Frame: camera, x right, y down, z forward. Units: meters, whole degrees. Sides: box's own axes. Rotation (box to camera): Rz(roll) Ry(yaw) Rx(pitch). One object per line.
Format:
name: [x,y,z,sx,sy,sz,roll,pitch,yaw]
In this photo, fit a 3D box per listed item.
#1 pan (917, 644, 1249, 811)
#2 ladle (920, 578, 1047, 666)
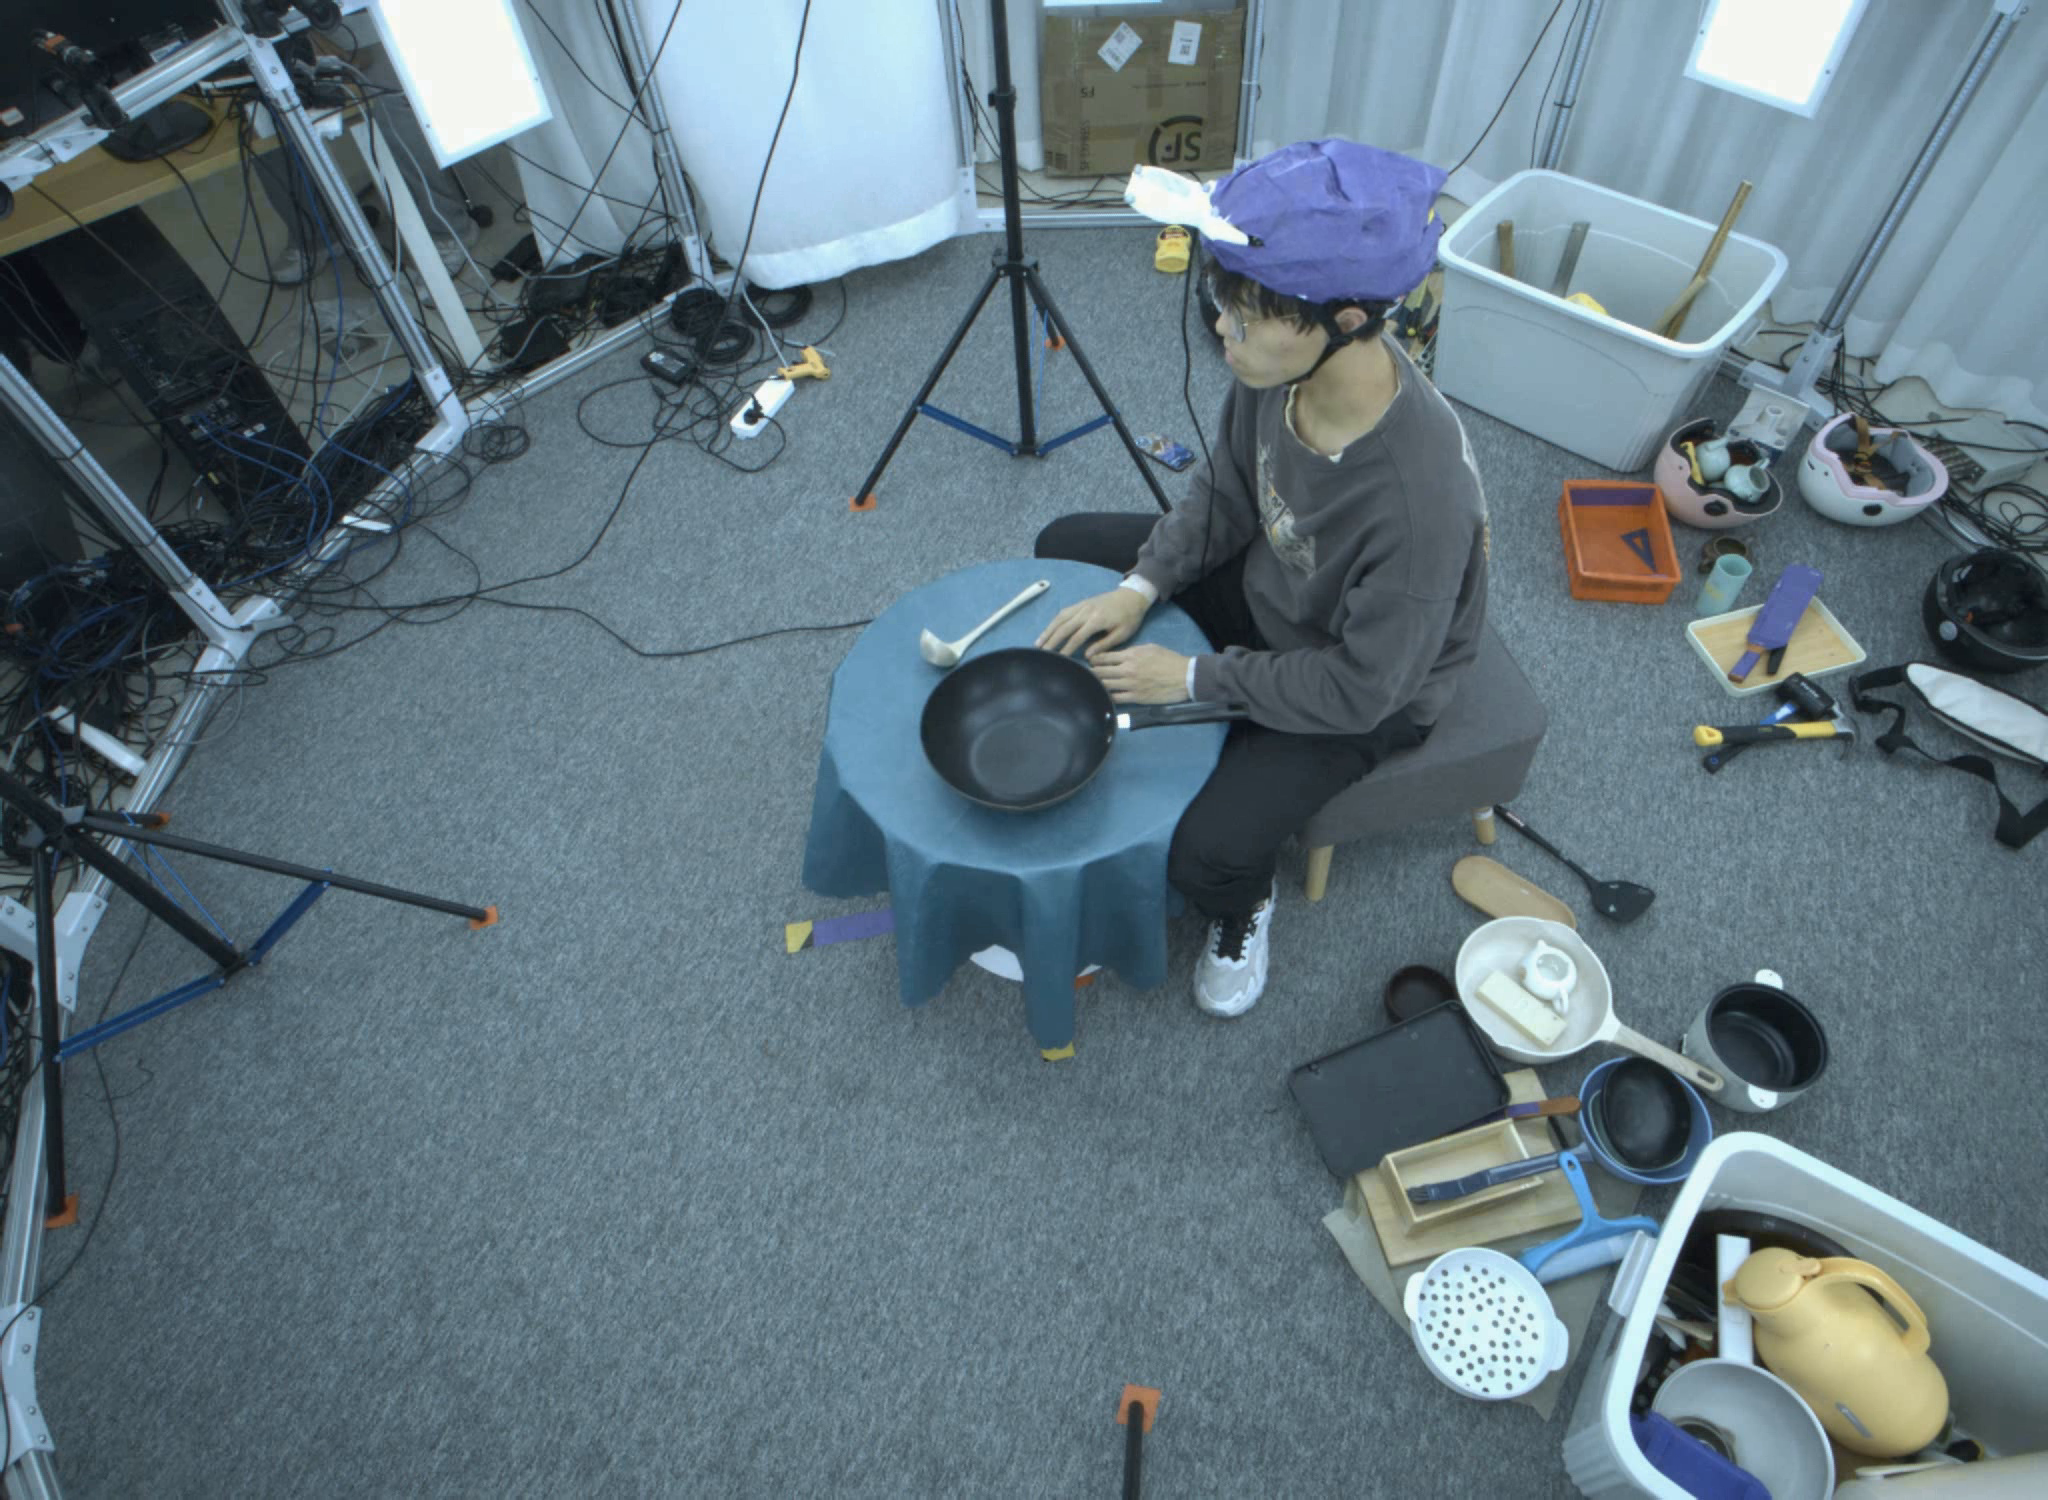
pan: [0.084,-0.023,1.747,0.464,0.088,0.285,-3,54,-1]
ladle: [-0.057,-0.221,1.901,0.070,0.074,0.256,33,62,30]
